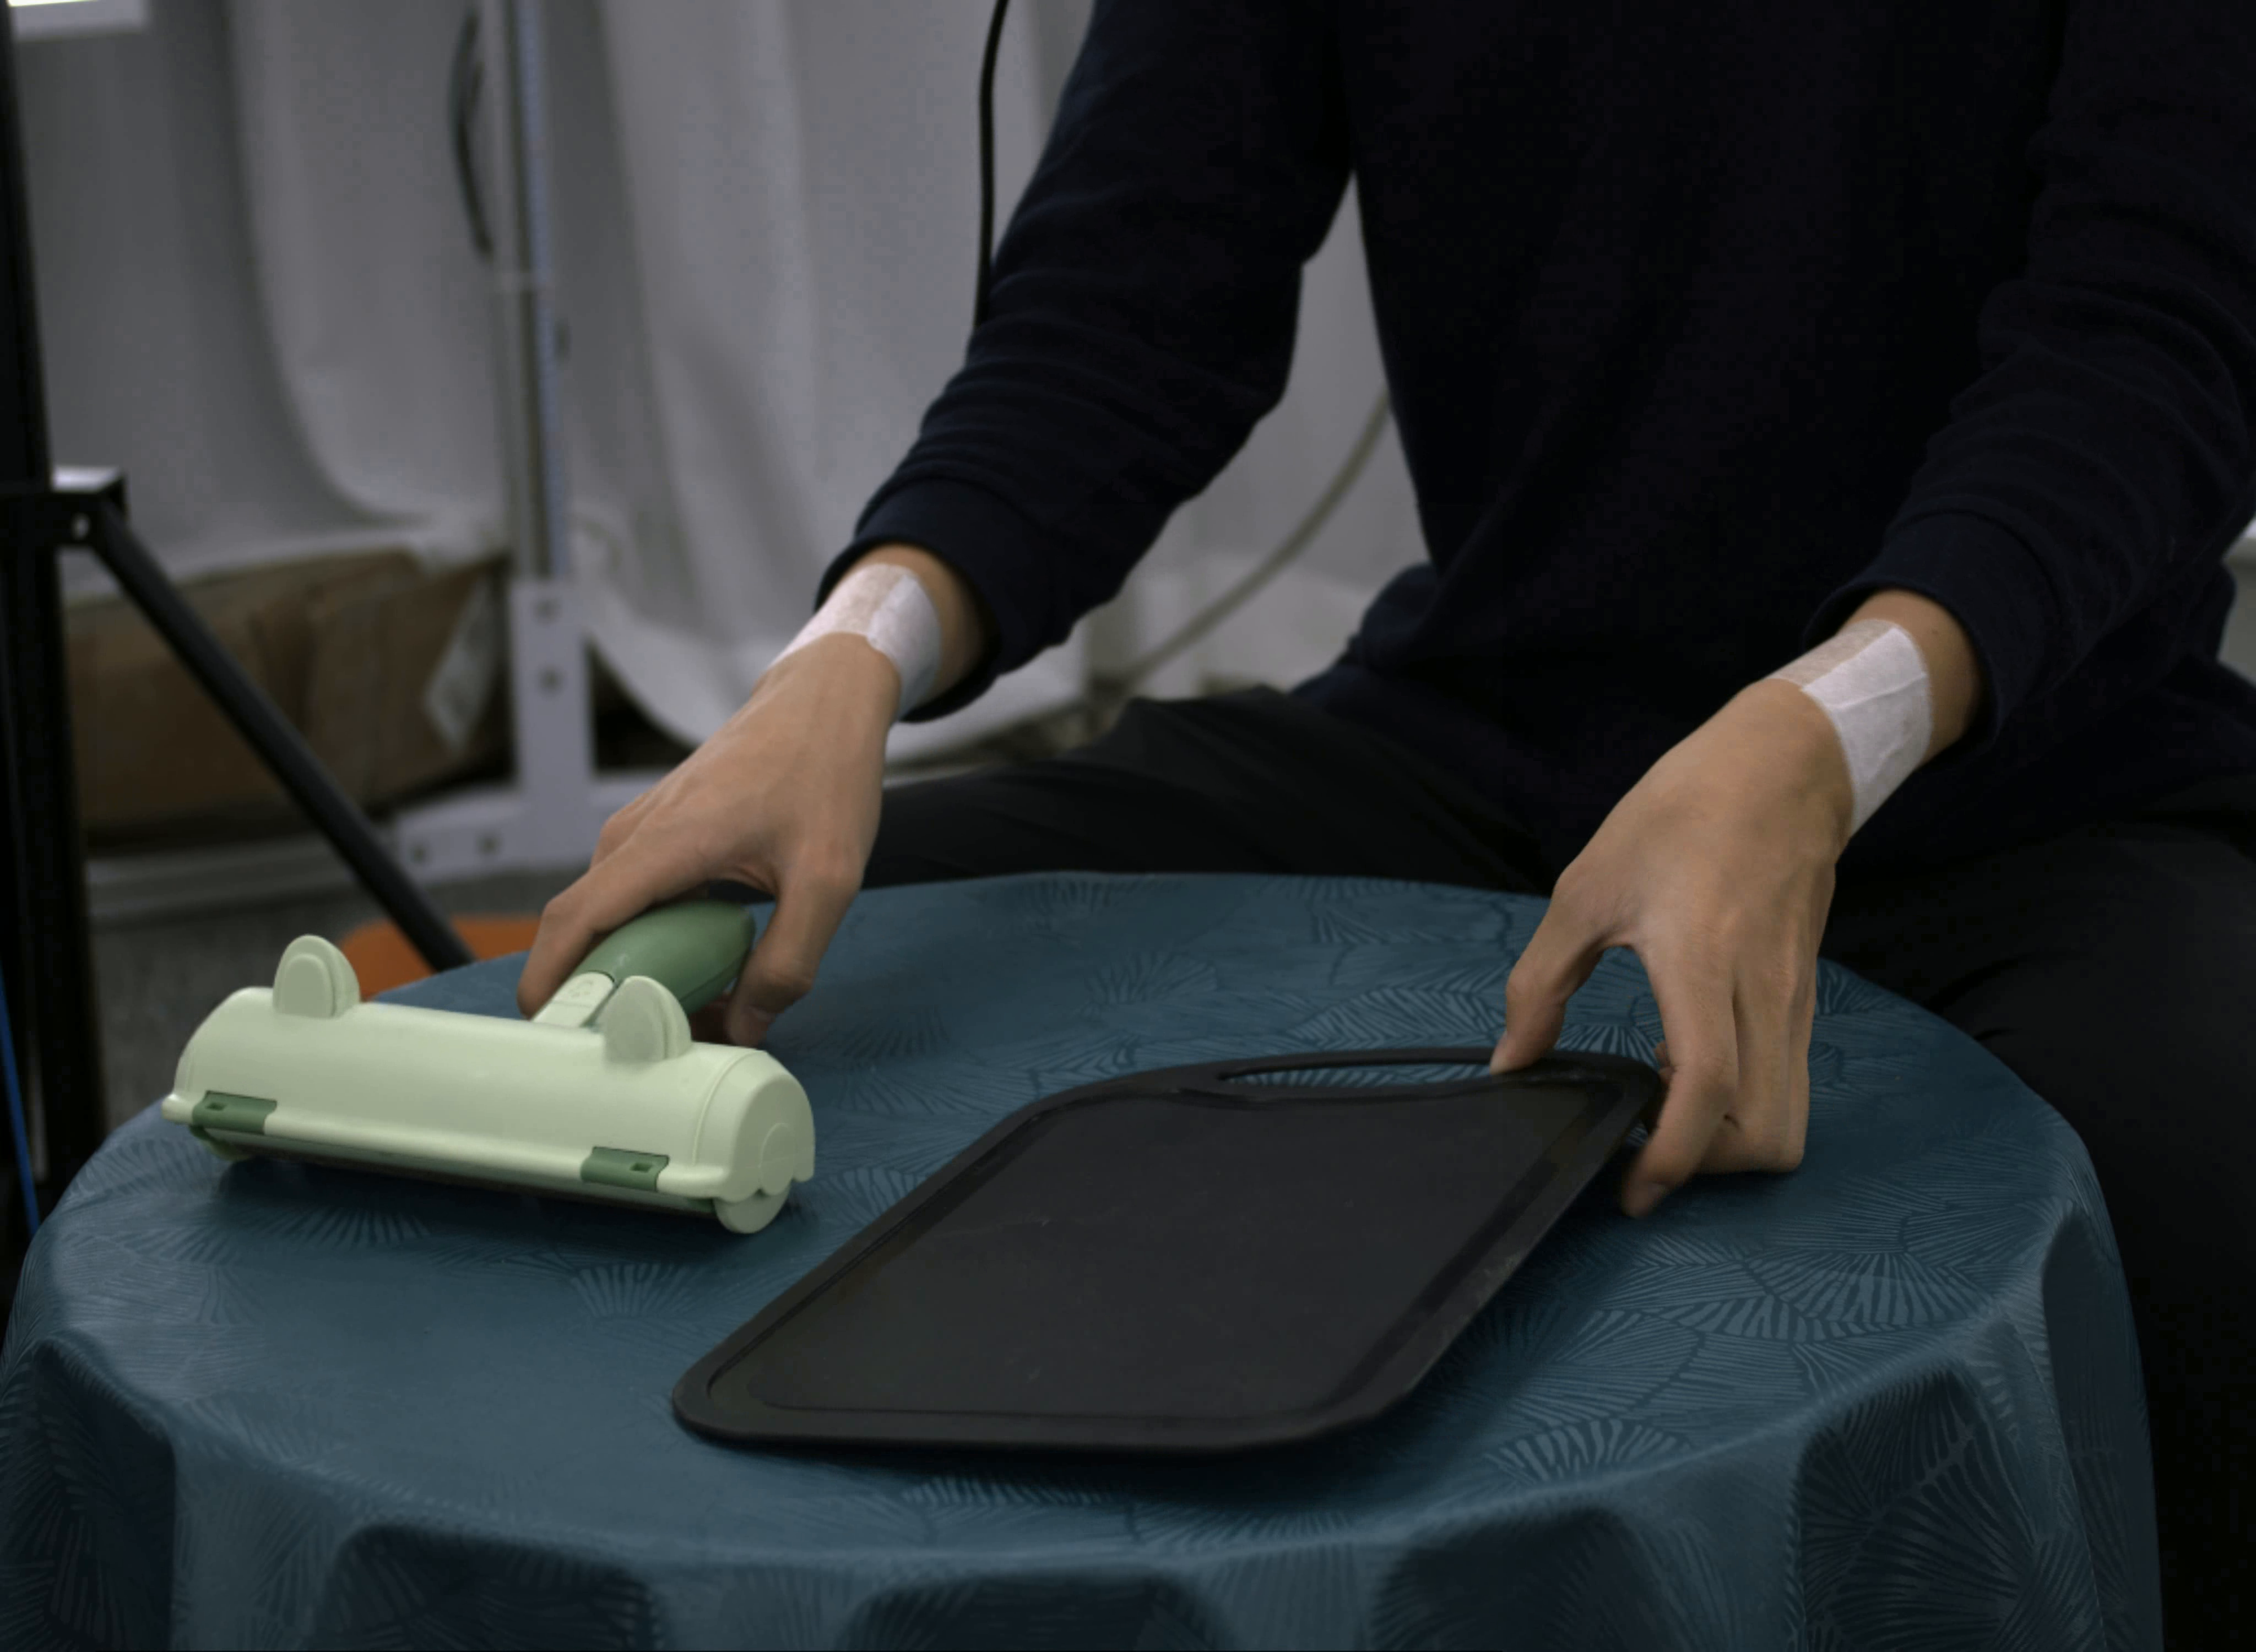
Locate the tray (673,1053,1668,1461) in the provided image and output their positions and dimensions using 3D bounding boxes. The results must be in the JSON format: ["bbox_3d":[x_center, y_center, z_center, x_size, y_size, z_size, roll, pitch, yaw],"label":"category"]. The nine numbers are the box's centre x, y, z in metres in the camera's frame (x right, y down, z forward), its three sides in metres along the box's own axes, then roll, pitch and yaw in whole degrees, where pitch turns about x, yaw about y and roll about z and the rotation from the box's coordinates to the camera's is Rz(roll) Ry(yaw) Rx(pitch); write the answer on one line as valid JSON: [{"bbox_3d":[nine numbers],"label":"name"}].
[{"bbox_3d":[0.021,0.113,1.491,0.214,0.010,0.321,-1,16,25],"label":"tray"}]

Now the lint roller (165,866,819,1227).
[{"bbox_3d":[-0.168,0.044,1.618,0.202,0.081,0.182,6,38,27],"label":"lint roller"}]
